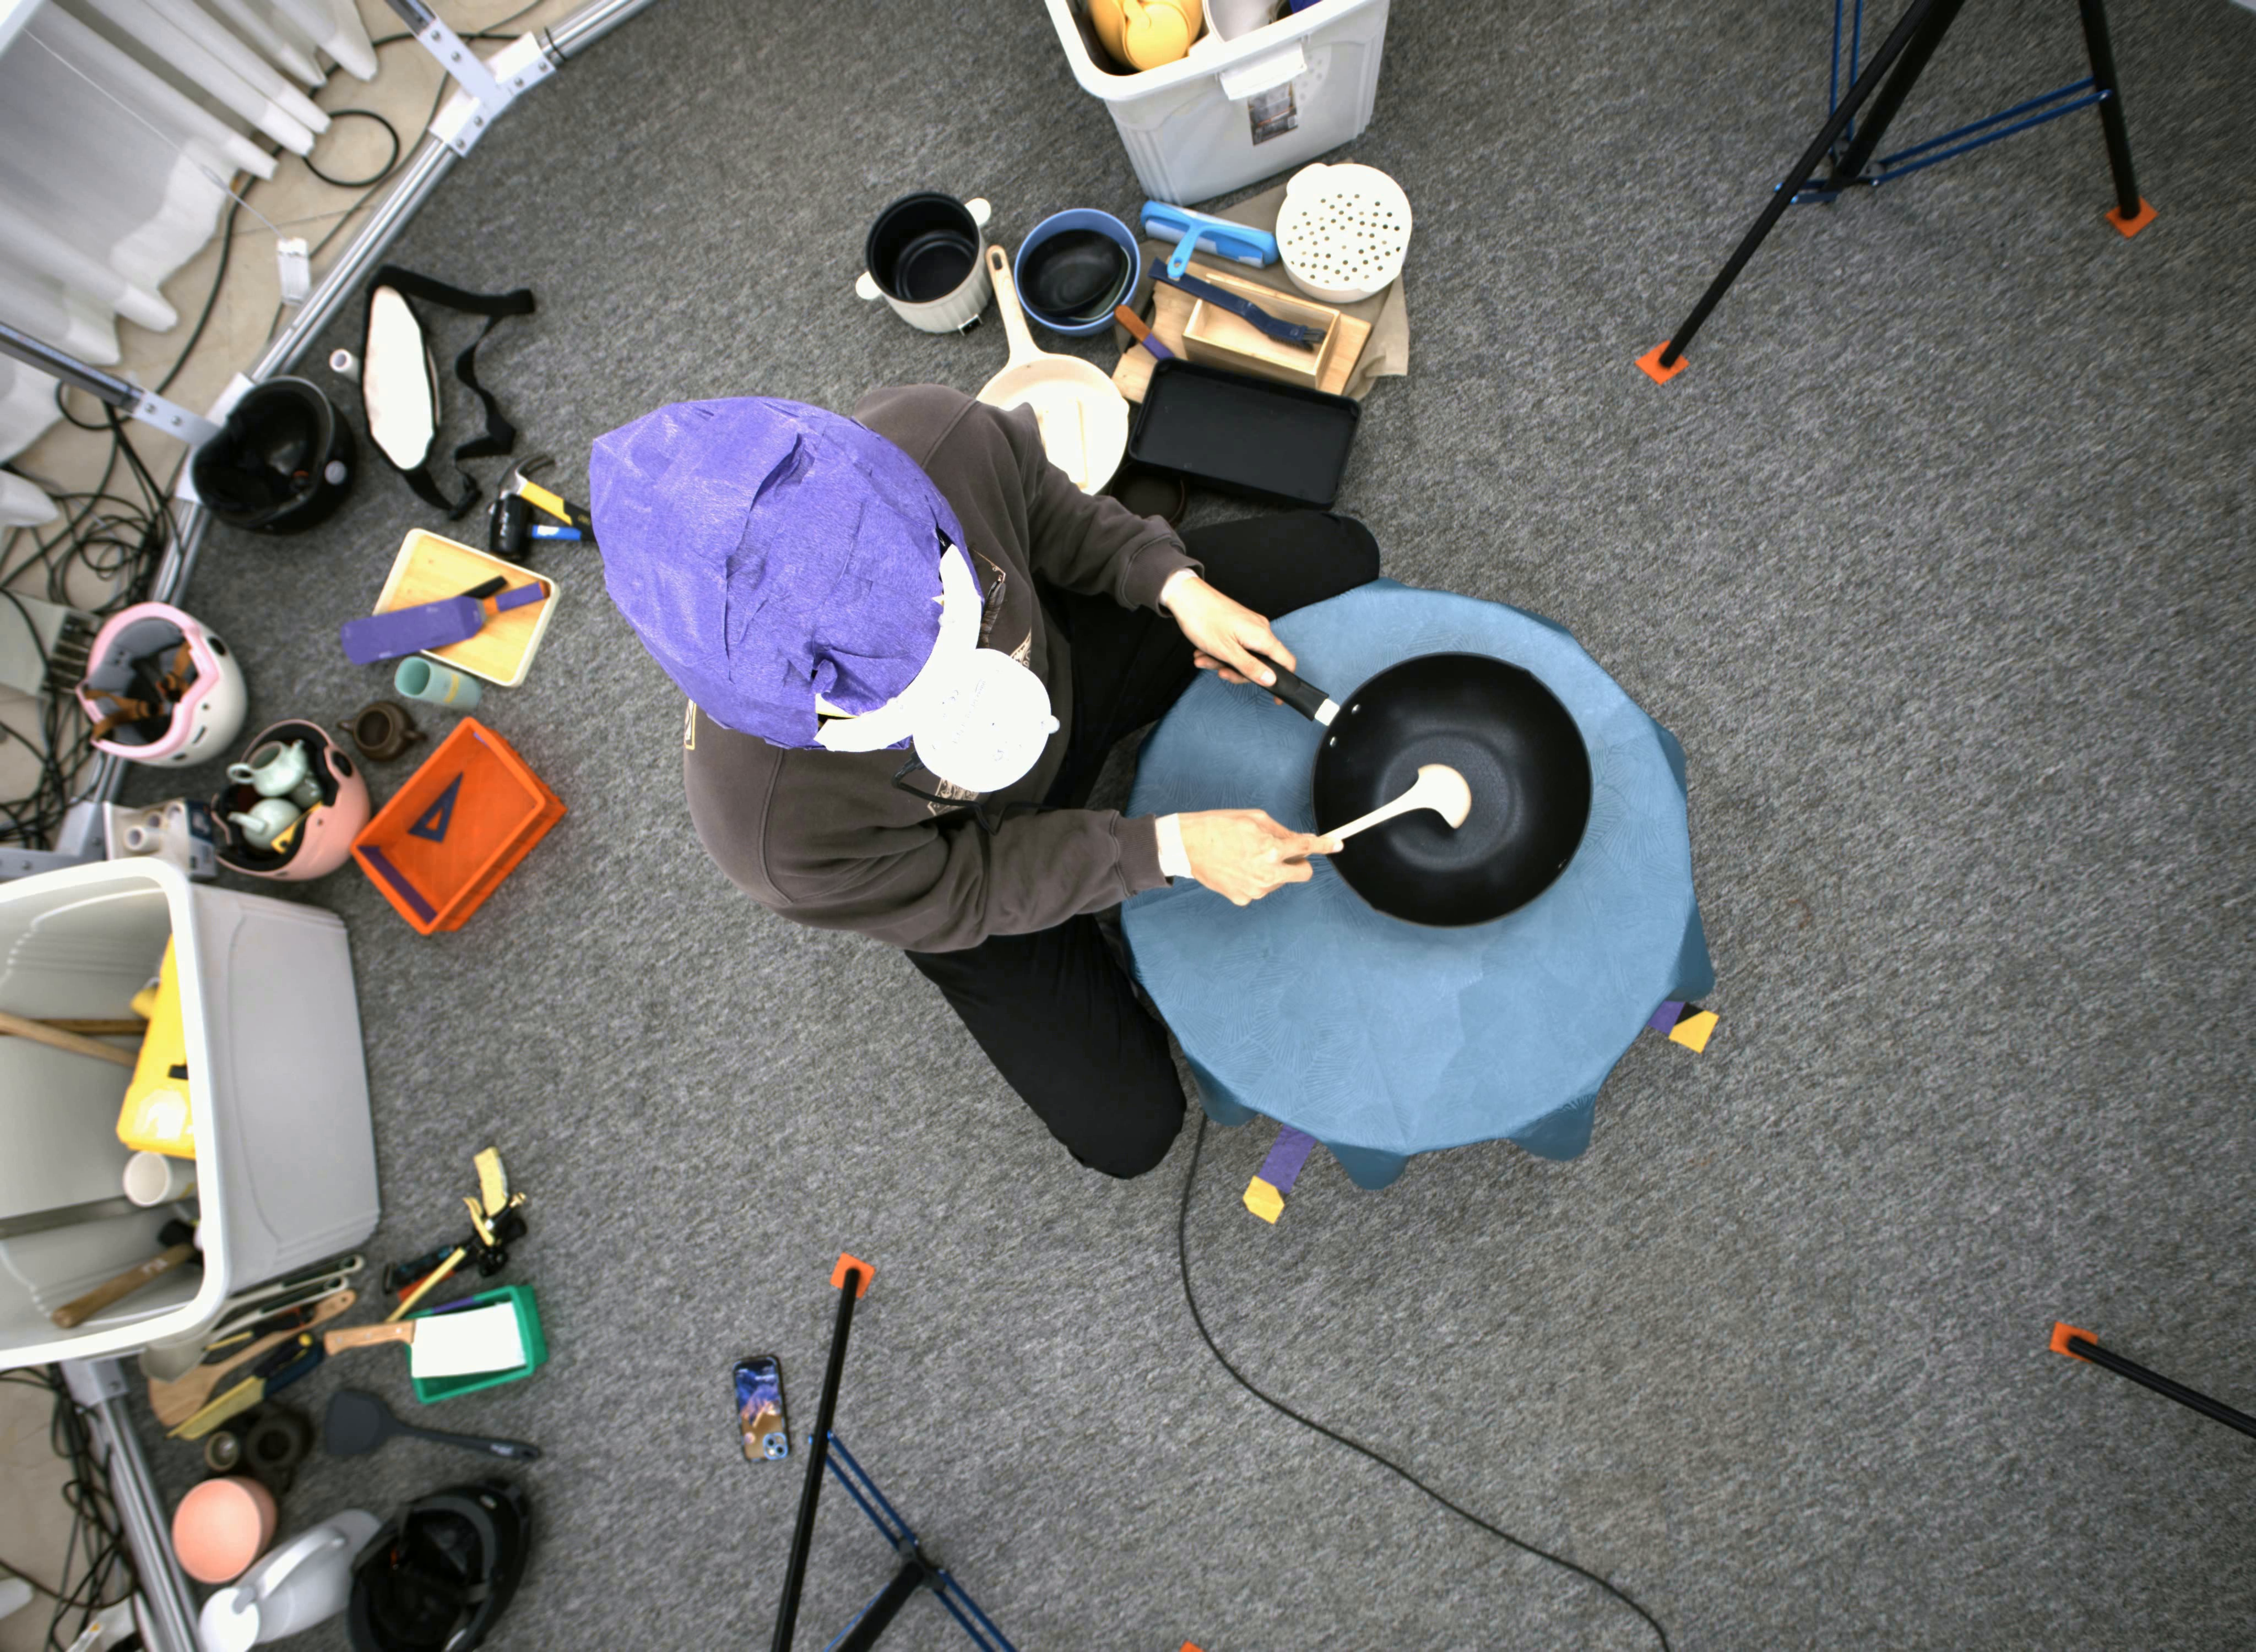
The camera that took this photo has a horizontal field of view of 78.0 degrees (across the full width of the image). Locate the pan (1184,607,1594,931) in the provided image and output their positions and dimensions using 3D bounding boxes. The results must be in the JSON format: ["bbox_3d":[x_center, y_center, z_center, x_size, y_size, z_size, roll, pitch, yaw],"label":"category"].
[{"bbox_3d":[0.253,-0.084,1.426,0.462,0.087,0.289,34,94,12],"label":"pan"}]

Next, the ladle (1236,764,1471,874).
[{"bbox_3d":[0.227,0.006,1.406,0.254,0.074,0.071,-21,74,-2],"label":"ladle"}]
